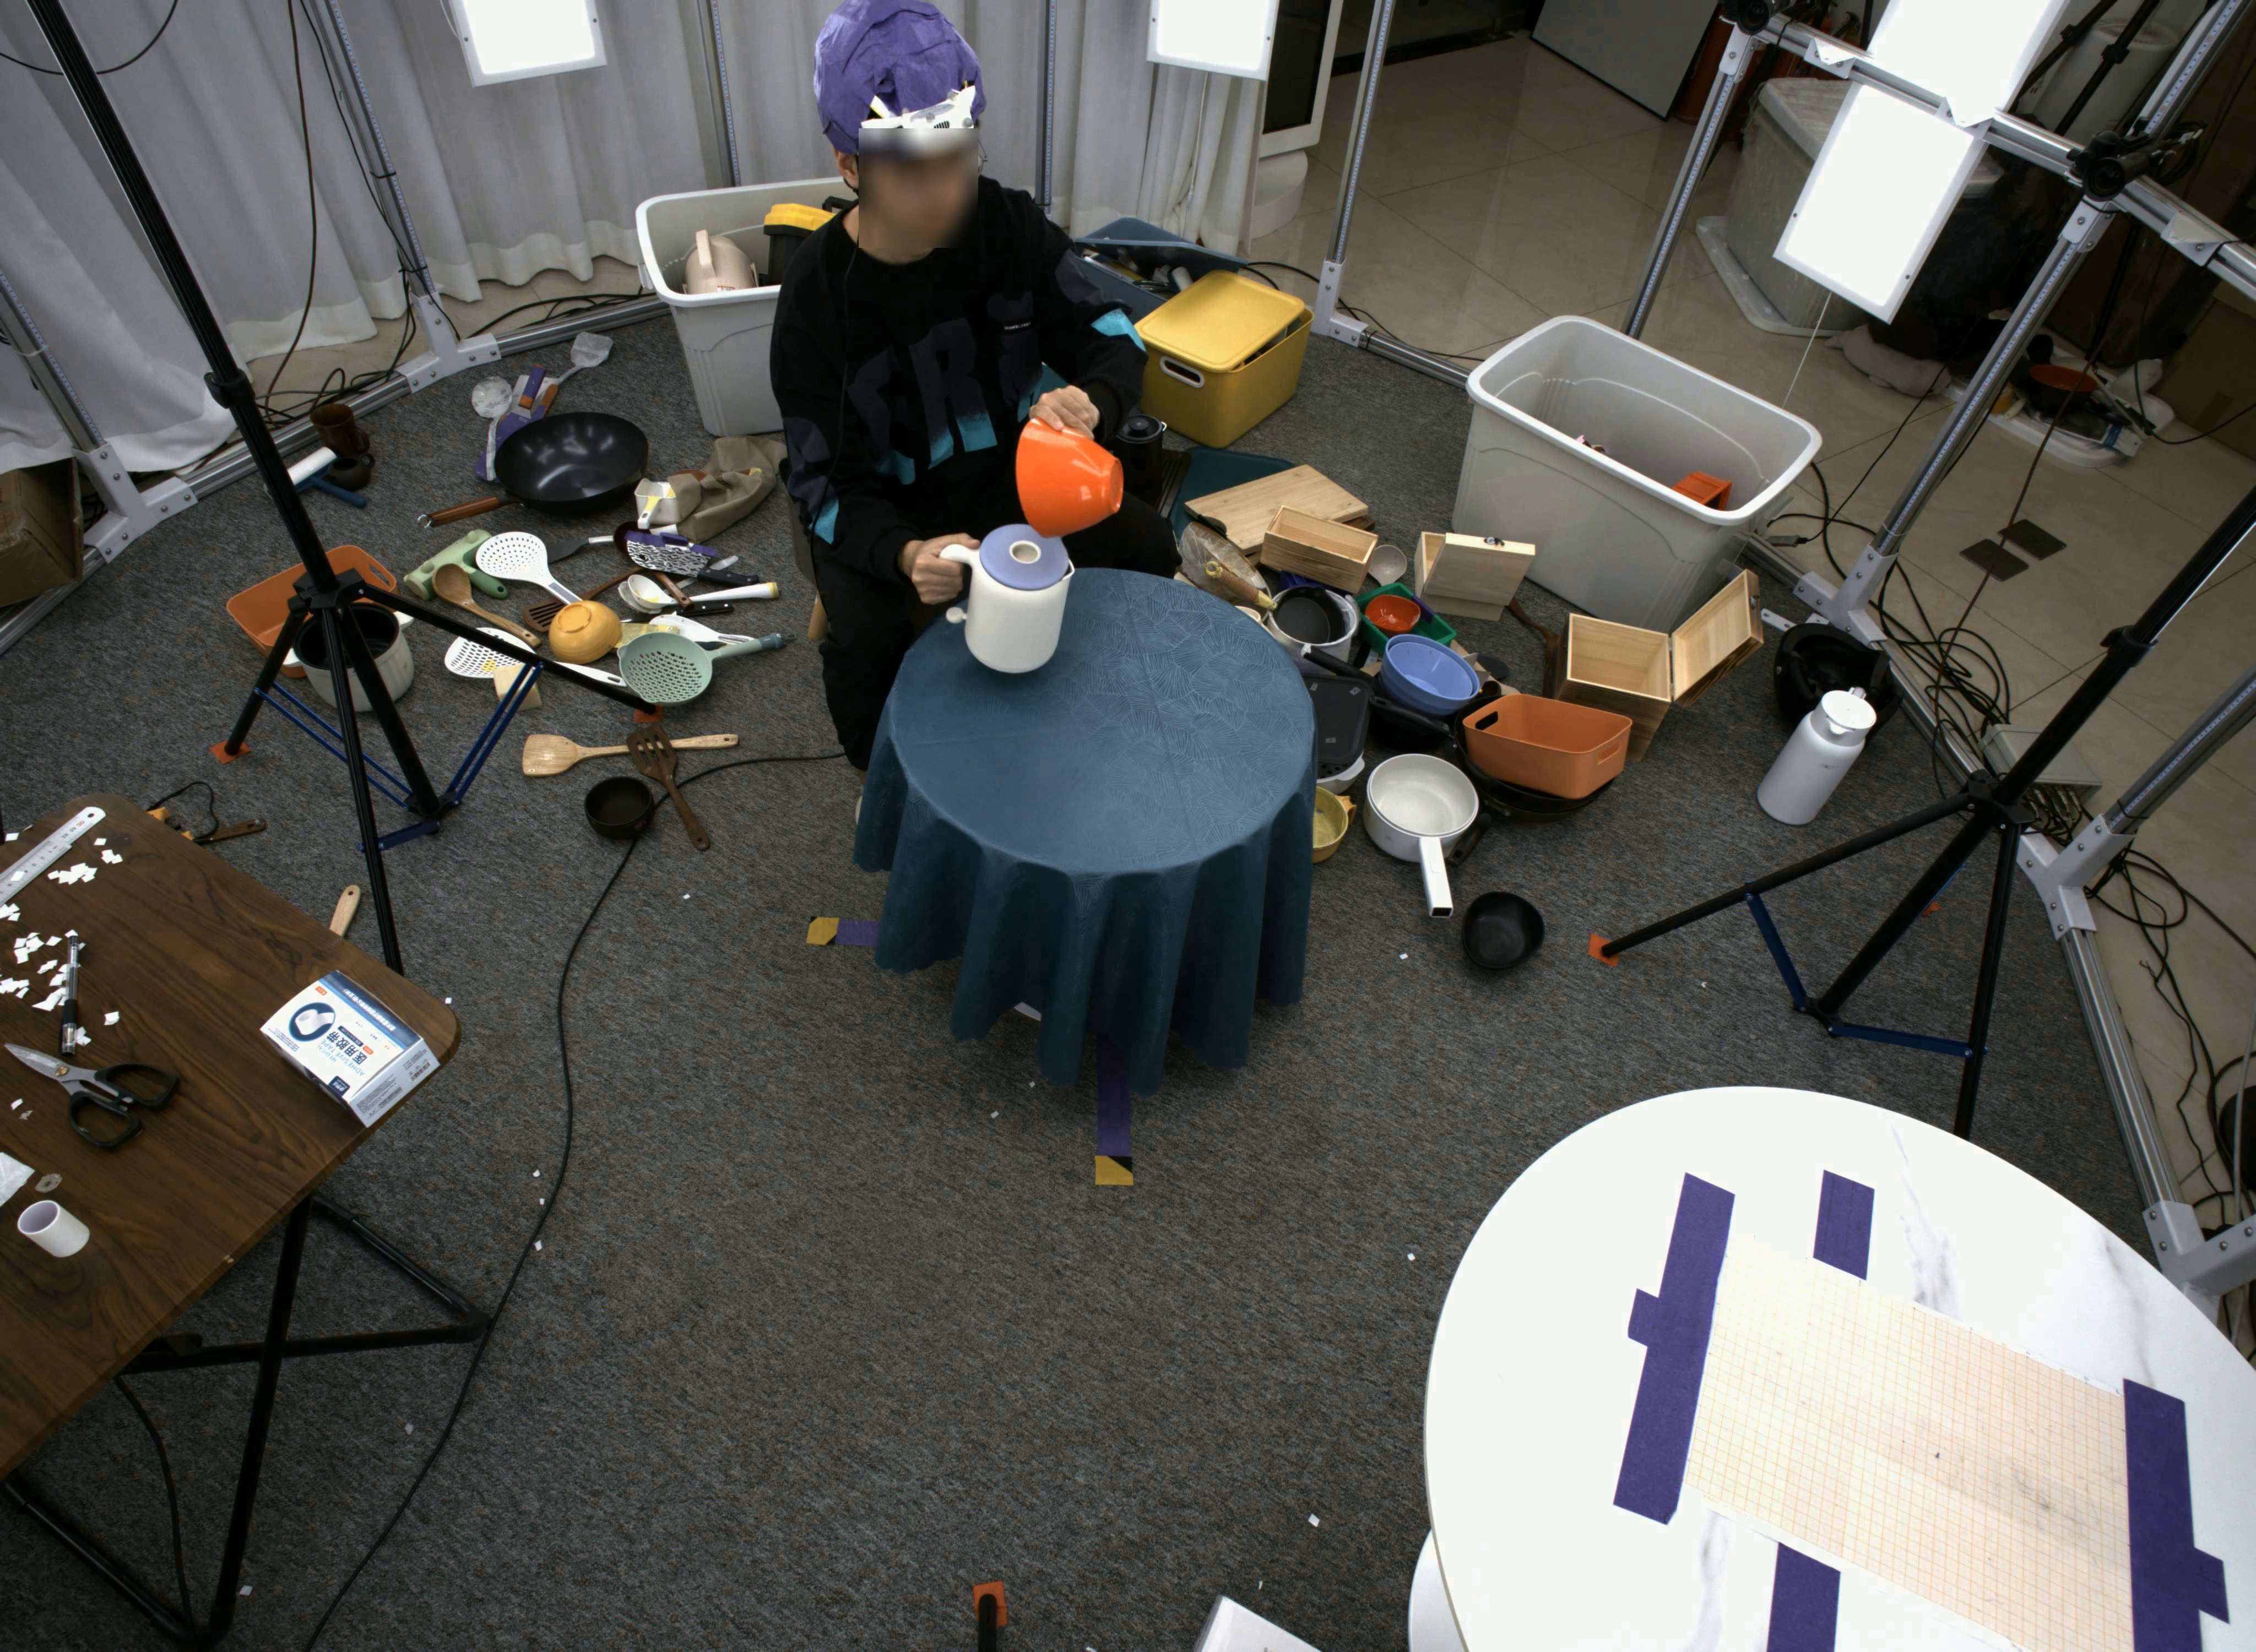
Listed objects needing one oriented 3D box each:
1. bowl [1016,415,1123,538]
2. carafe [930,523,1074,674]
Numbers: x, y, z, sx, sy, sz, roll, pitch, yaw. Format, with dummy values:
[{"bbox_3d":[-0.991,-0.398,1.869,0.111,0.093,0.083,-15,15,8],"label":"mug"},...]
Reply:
[{"bbox_3d":[-0.065,-0.427,1.590,0.105,0.144,0.151,6,48,13],"label":"bowl"},{"bbox_3d":[-0.174,-0.314,1.757,0.191,0.178,0.135,12,52,1],"label":"carafe"}]
